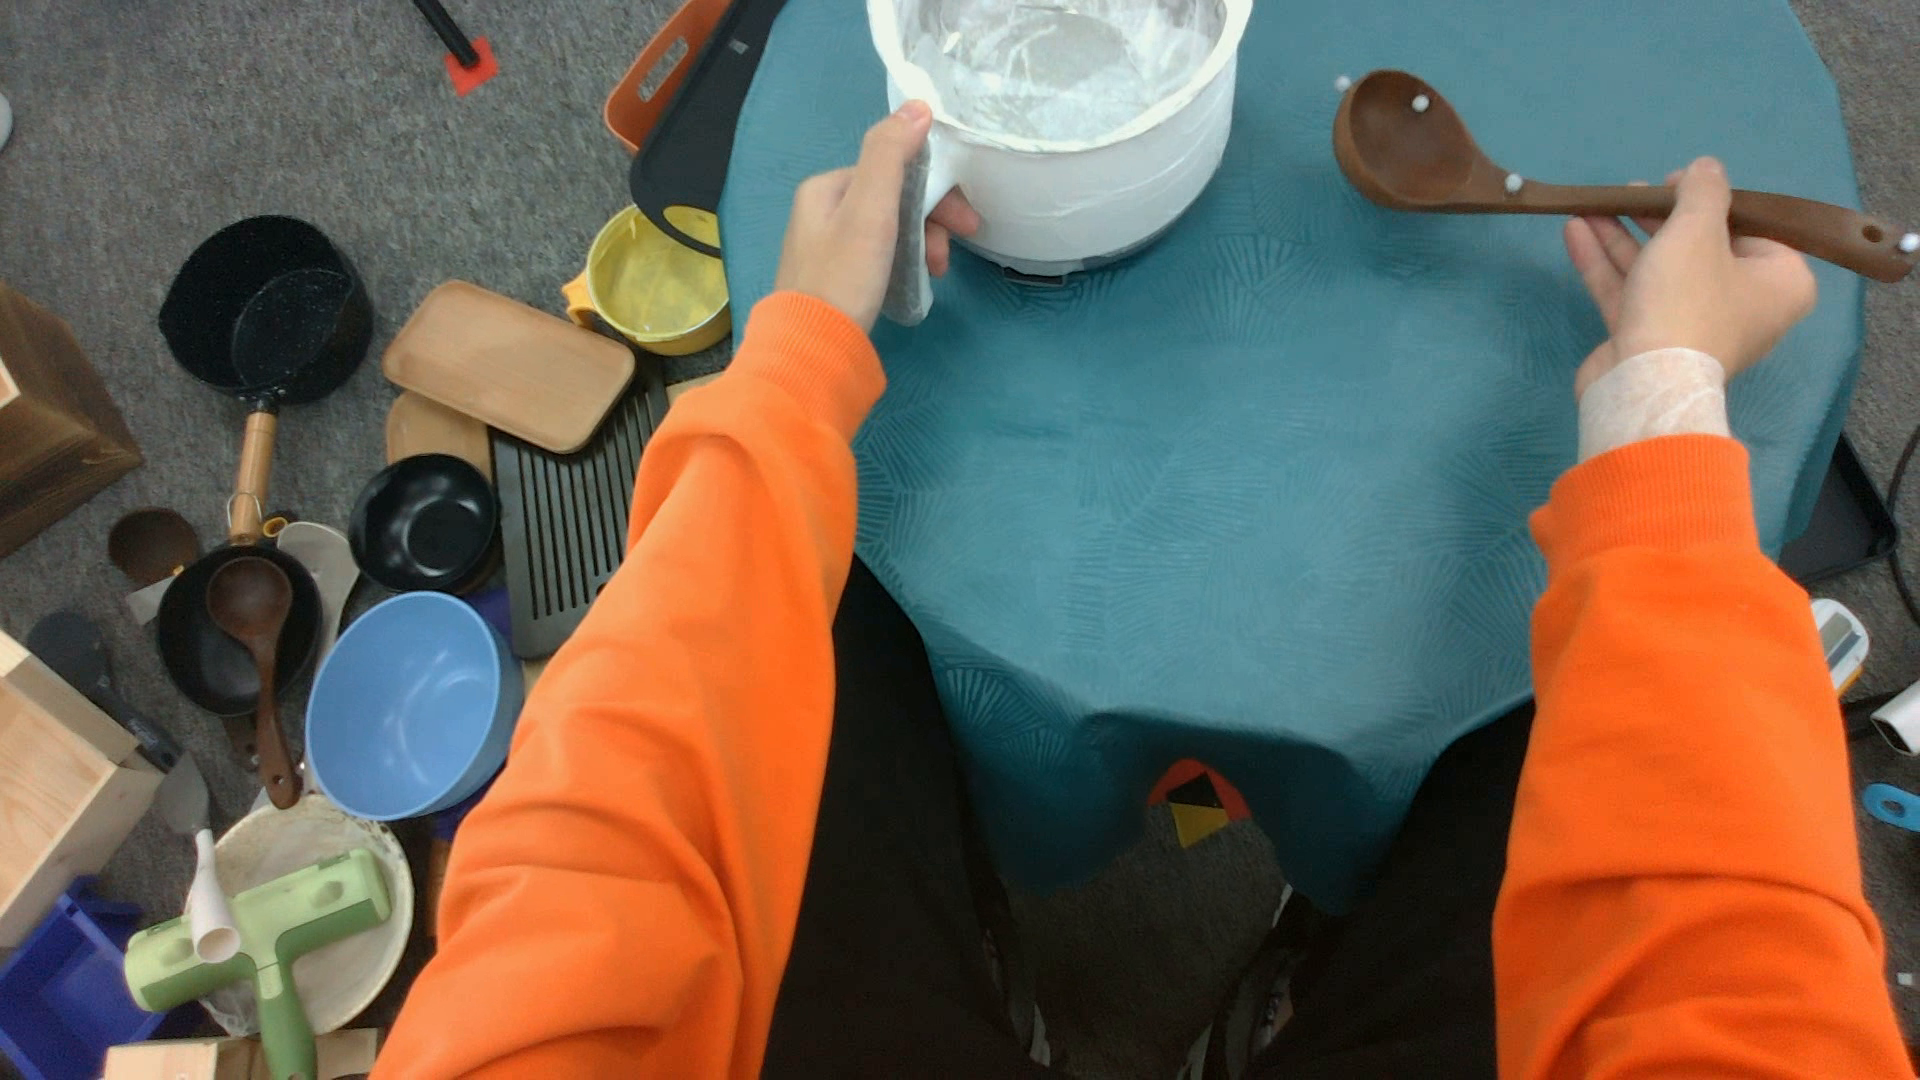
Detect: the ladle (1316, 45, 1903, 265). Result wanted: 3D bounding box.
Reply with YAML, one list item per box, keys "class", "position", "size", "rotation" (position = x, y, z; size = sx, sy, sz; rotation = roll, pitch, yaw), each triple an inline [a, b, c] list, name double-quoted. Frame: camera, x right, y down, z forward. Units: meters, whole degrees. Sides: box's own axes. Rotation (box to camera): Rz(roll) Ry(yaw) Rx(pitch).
- class: "ladle"
  position: [0.294, -0.177, 0.637]
  size: [0.260, 0.065, 0.077]
  rotation: [19, 69, 26]

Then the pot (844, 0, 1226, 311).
- class: "pot"
  position: [0.024, -0.222, 0.689]
  size: [0.179, 0.136, 0.234]
  rotation: [36, 79, 14]
